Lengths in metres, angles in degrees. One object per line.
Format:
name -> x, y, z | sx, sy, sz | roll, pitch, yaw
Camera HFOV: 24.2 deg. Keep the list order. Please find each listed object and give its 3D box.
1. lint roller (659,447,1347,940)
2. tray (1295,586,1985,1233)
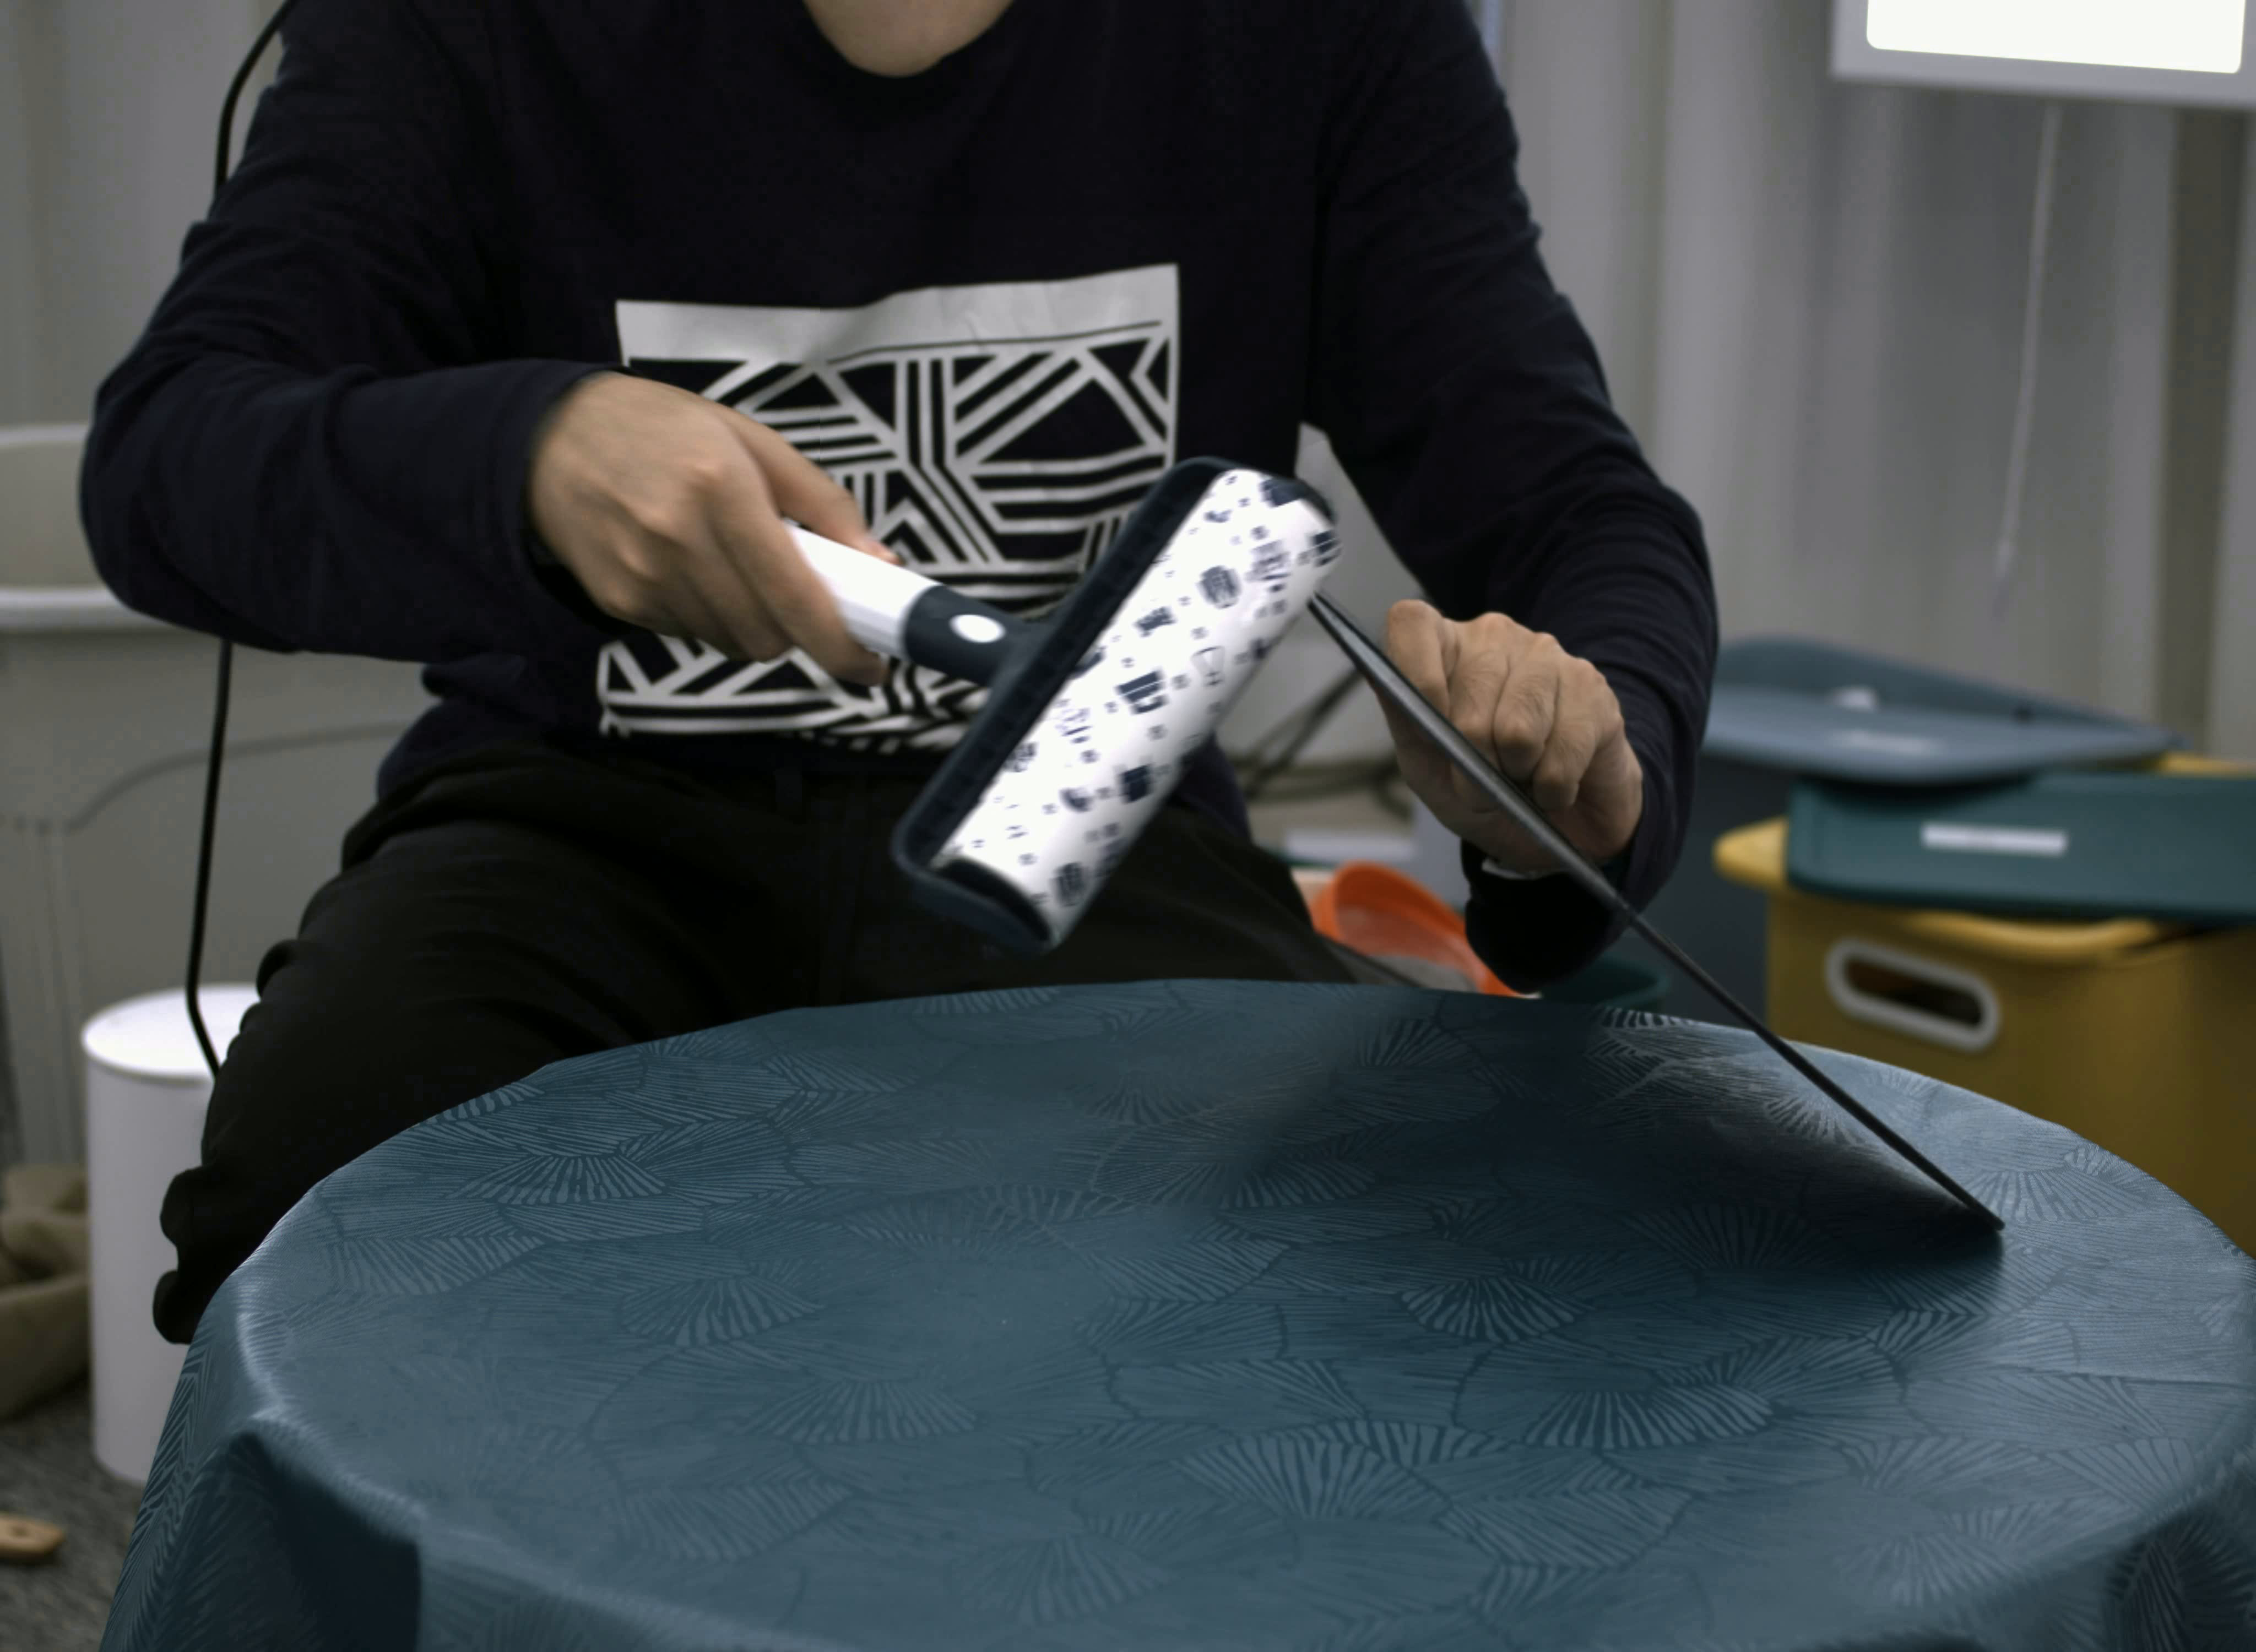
lint roller -> -0.067, -0.067, 1.706 | 0.244, 0.051, 0.176 | 20, 67, 36
tray -> 0.150, 0.015, 1.664 | 0.213, 0.010, 0.321 | 40, 5, -28
